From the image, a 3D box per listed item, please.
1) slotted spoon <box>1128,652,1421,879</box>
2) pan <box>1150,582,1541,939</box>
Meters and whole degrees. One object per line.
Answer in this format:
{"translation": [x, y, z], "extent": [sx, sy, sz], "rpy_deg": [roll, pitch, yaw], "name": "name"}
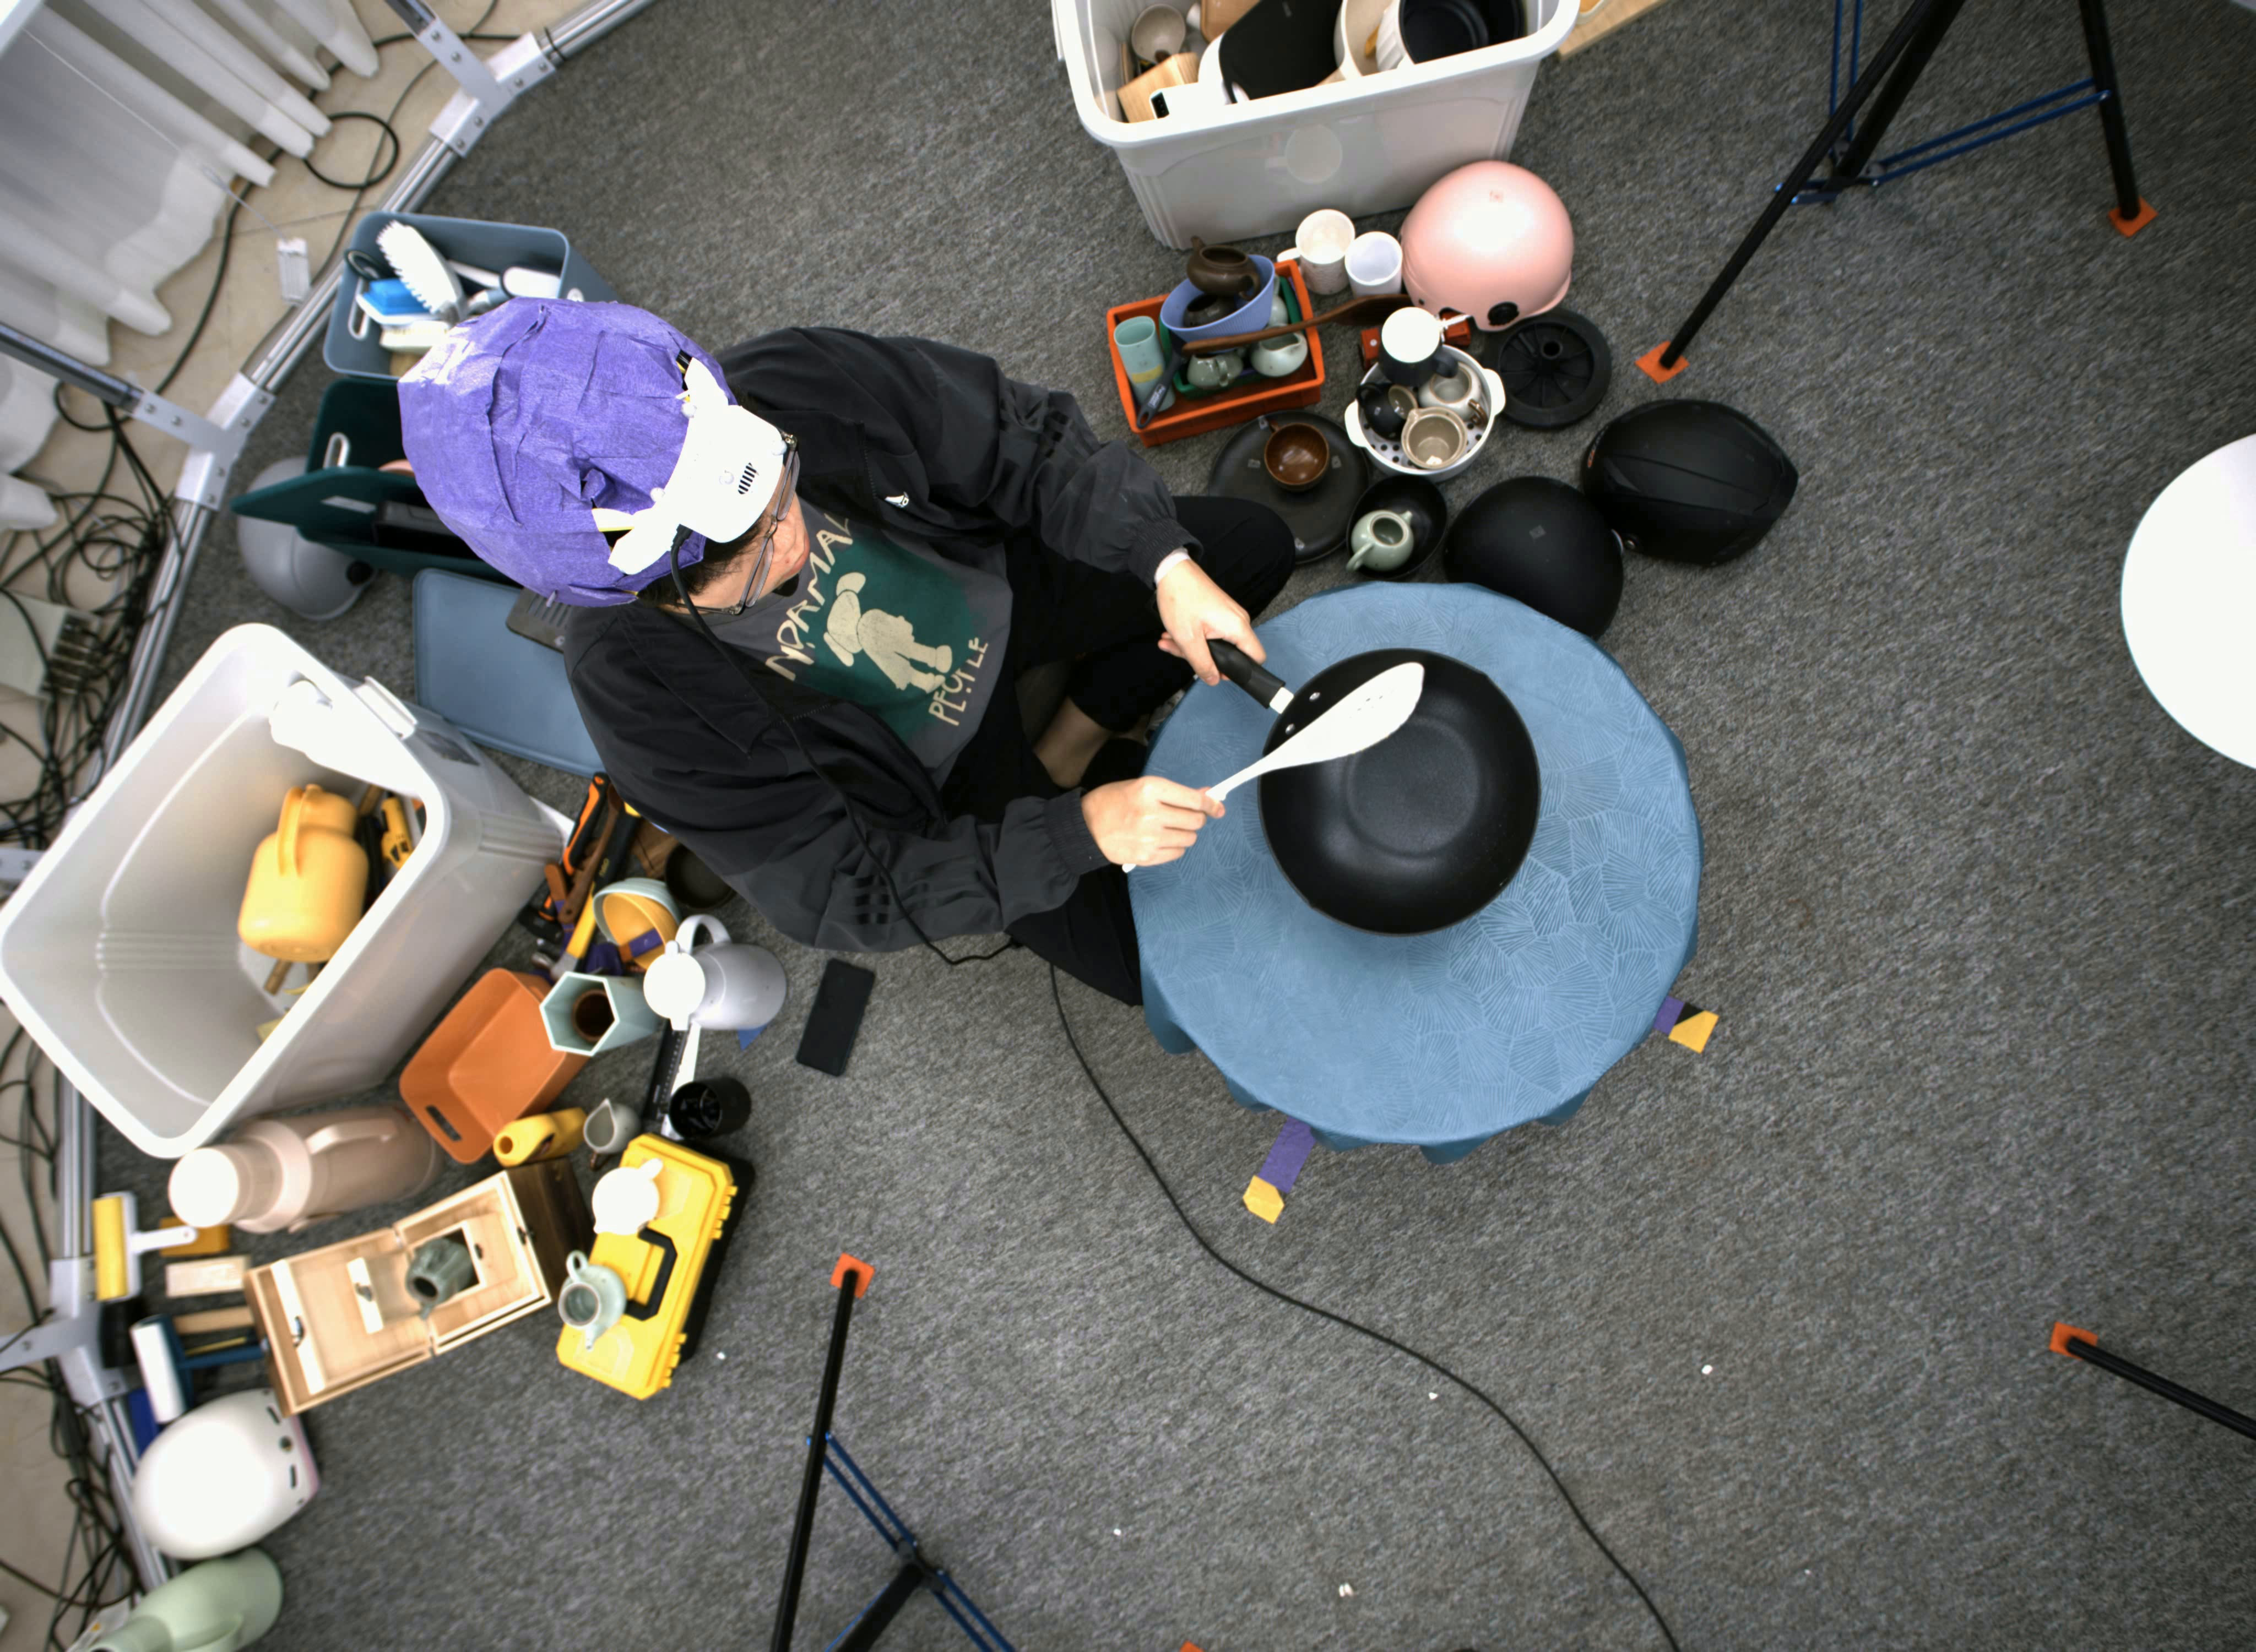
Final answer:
{"translation": [0.141, -0.056, 1.335], "extent": [0.350, 0.137, 0.050], "rpy_deg": [-30, 79, 8], "name": "slotted spoon"}
{"translation": [0.204, -0.092, 1.381], "extent": [0.460, 0.086, 0.293], "rpy_deg": [41, 113, 15], "name": "pan"}
